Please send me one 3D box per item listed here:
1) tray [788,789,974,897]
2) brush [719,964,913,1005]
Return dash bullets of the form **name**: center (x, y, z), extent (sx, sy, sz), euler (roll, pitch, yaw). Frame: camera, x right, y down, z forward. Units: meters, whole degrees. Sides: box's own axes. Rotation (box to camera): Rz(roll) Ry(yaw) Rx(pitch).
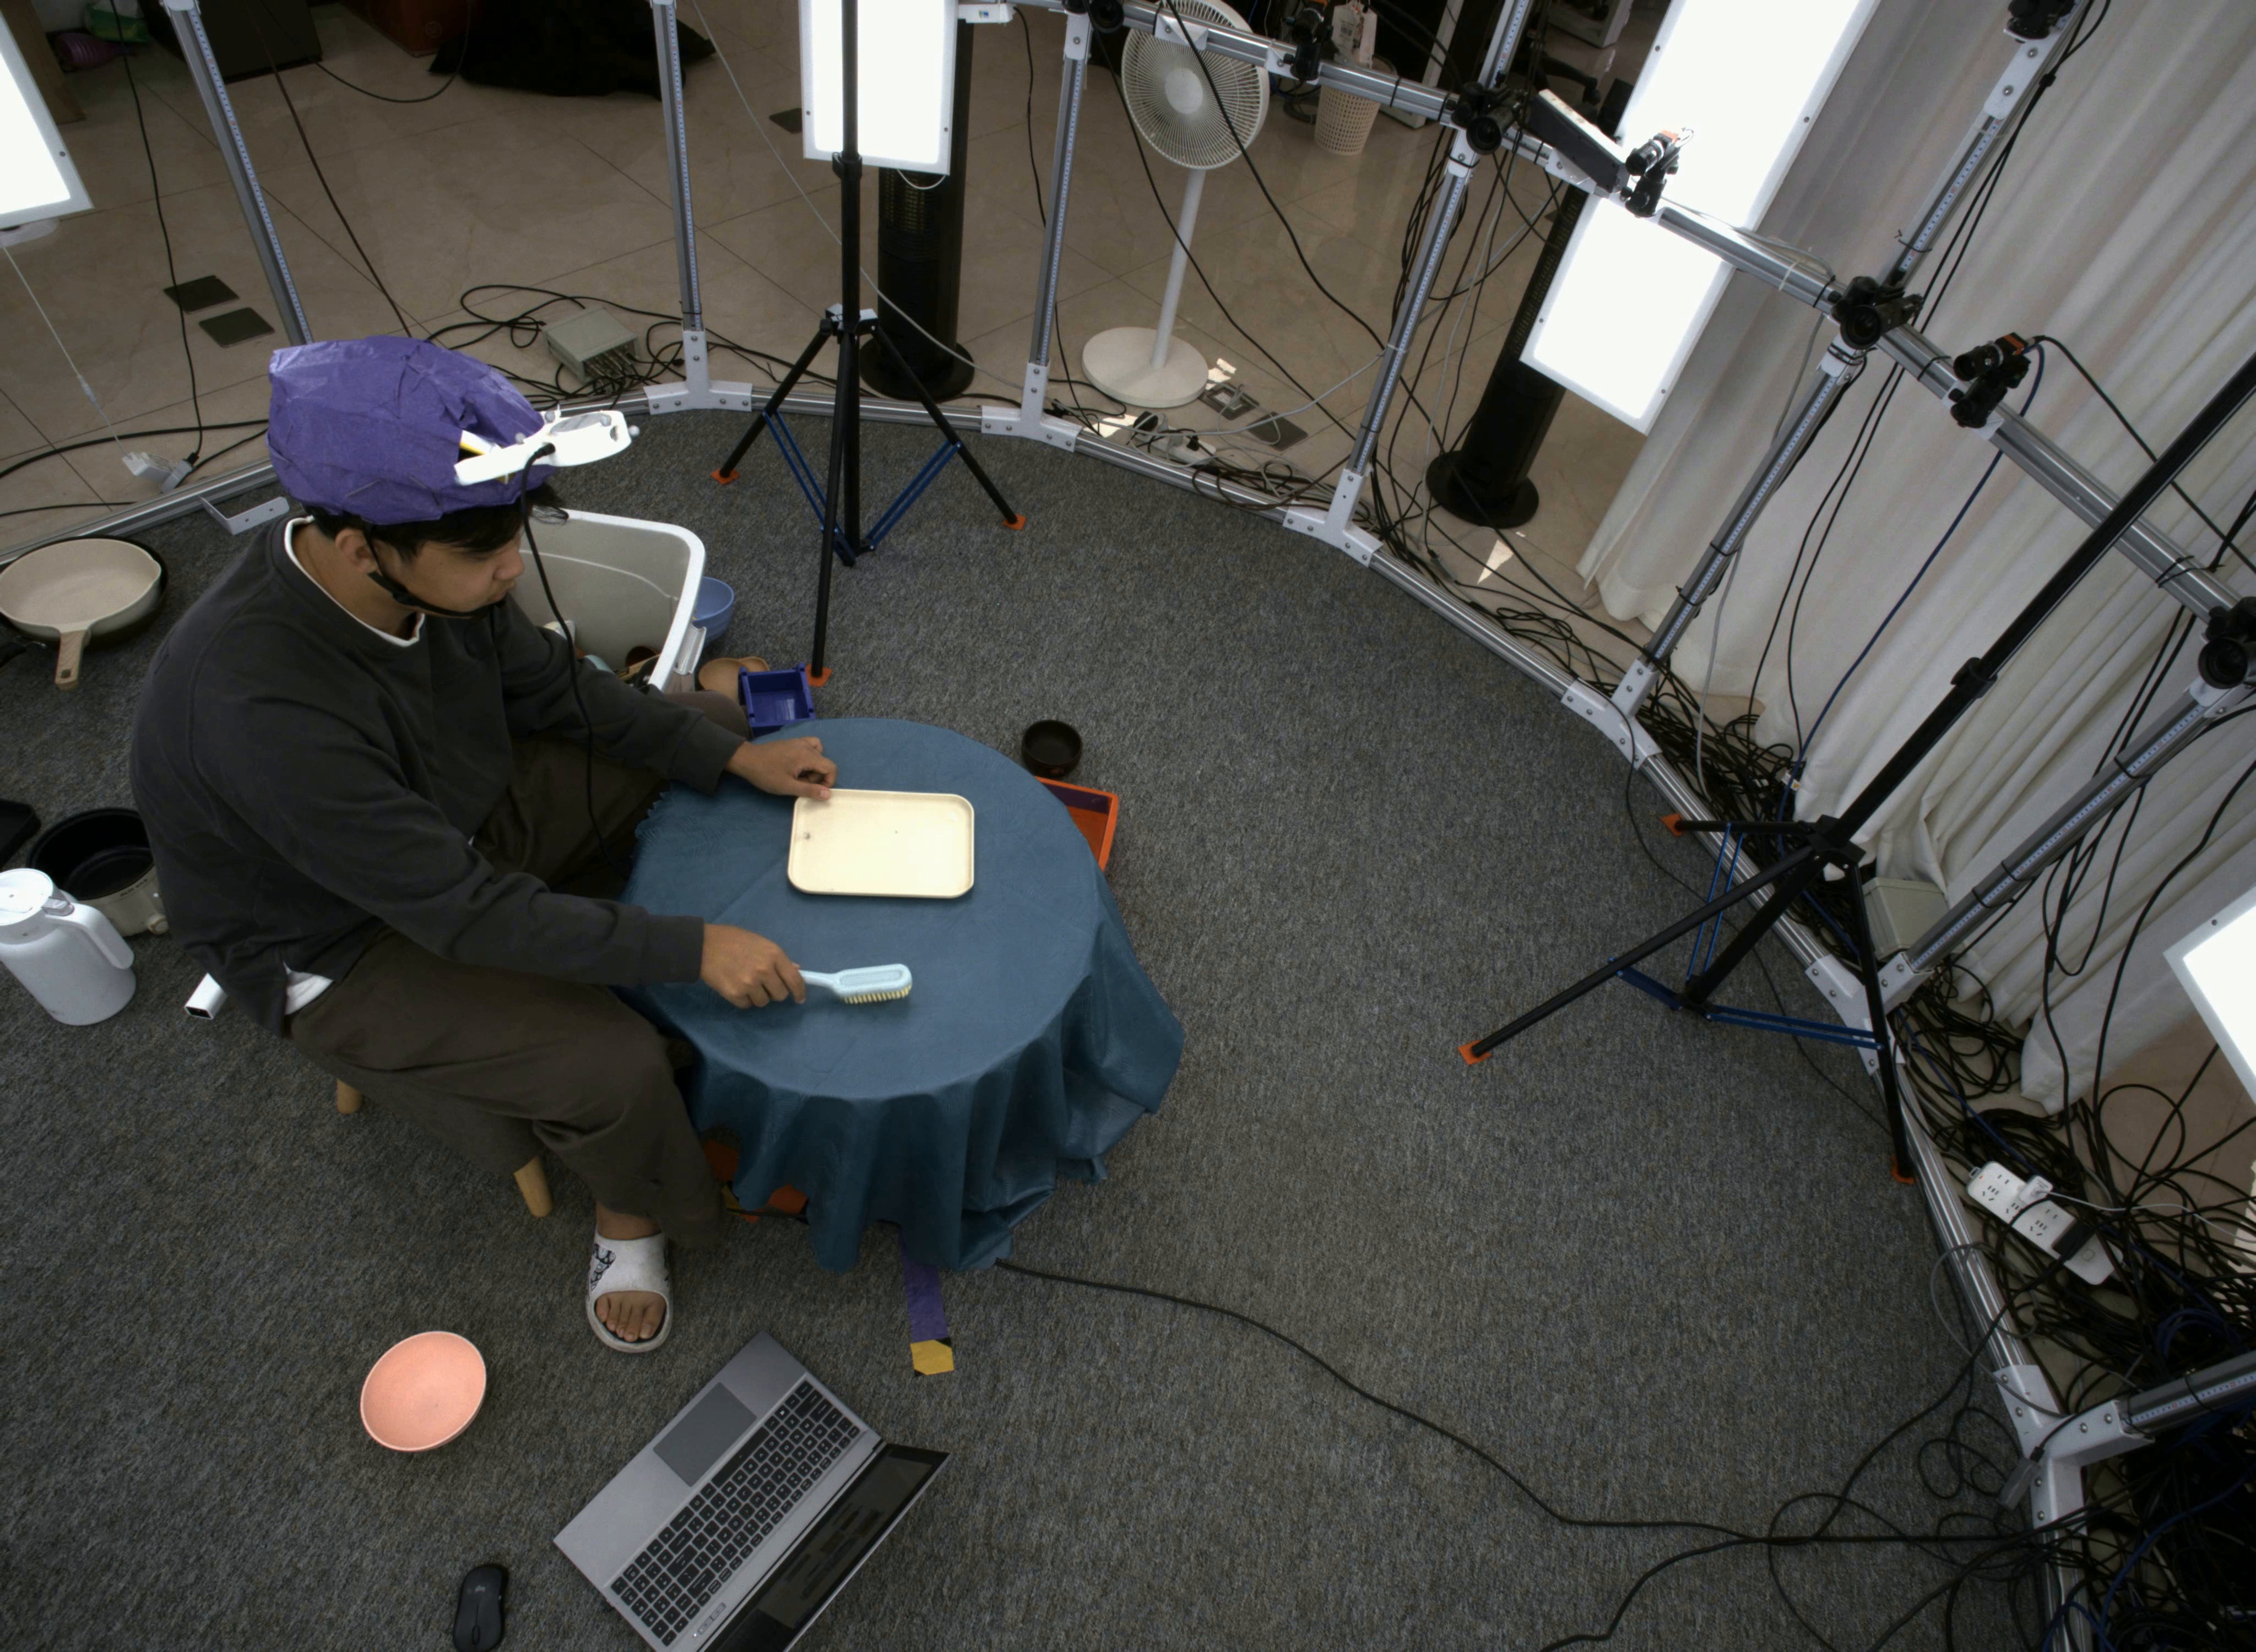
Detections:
- **tray**: center (-0.323, 0.023, 1.717), extent (0.239, 0.018, 0.168), euler (3, 53, -12)
- **brush**: center (-0.373, 0.189, 1.556), extent (0.229, 0.051, 0.037), euler (2, 49, -16)
